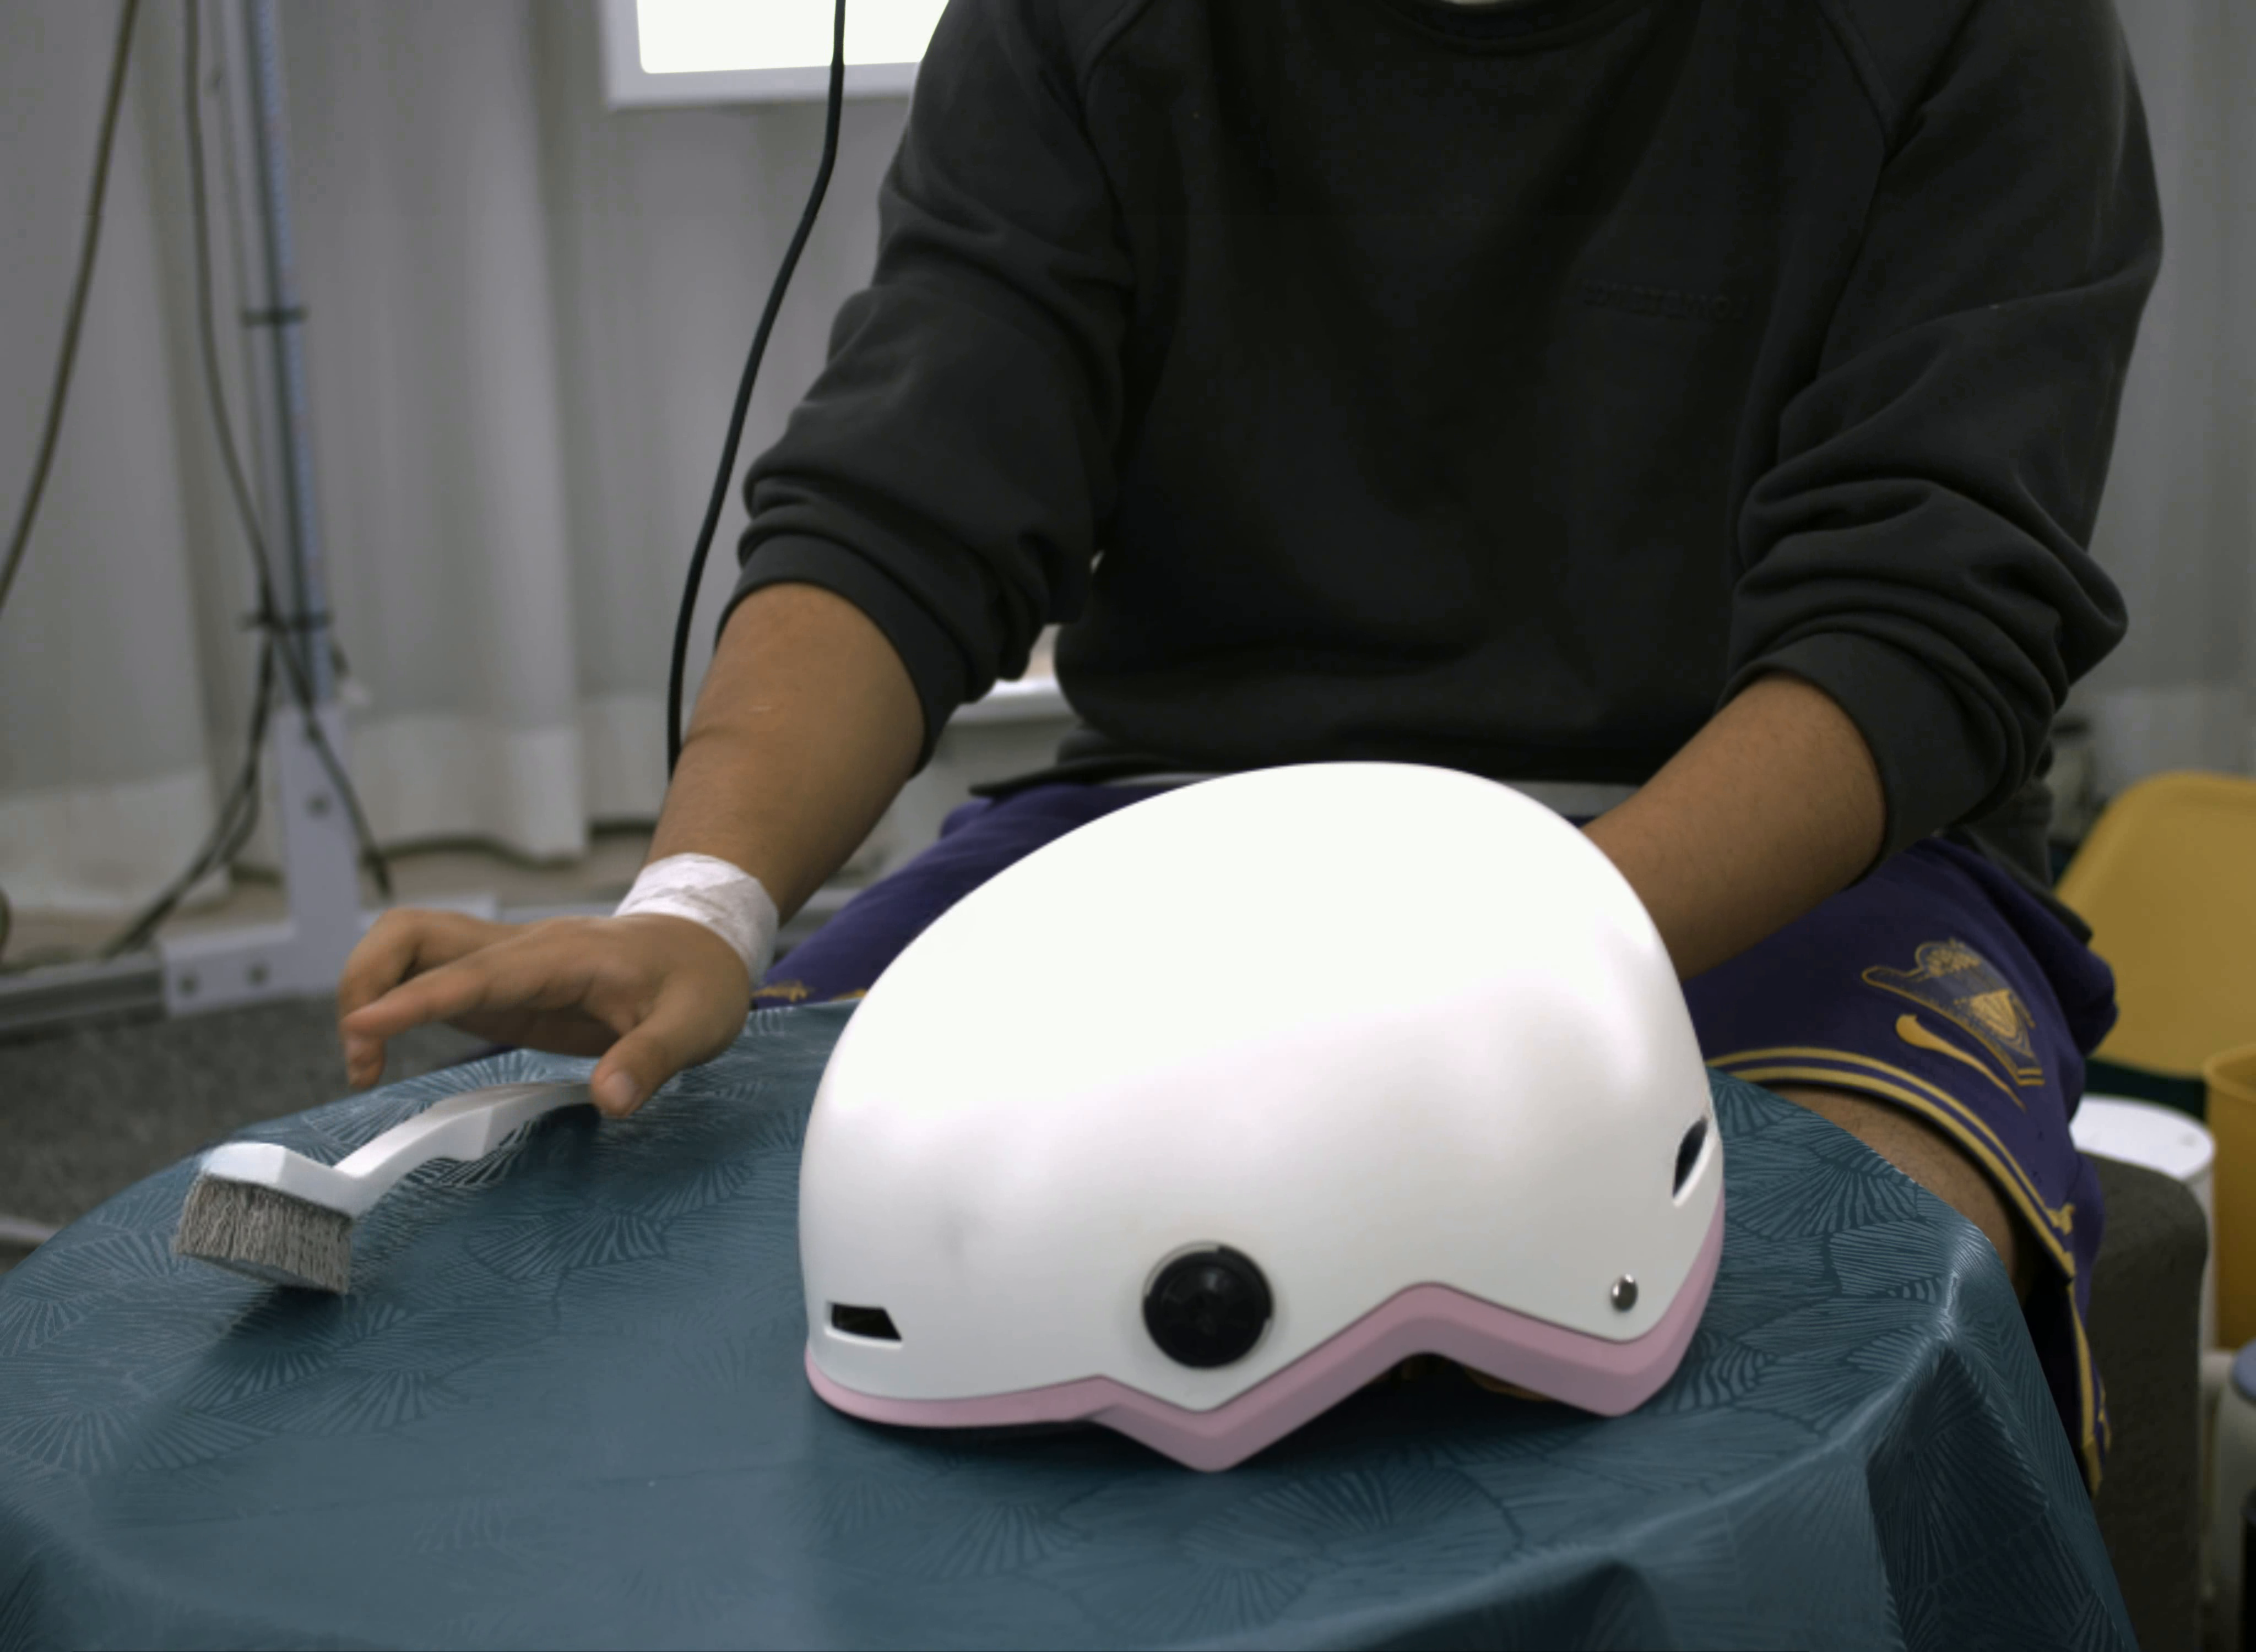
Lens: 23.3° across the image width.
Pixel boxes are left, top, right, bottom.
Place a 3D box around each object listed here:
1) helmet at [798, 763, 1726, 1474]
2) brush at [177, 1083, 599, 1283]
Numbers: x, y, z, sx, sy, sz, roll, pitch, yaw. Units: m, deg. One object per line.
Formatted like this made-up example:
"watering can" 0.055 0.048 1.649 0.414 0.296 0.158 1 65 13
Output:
"helmet" 0.035 0.069 1.564 0.268 0.166 0.239 -4 15 -2
"brush" -0.227 0.112 1.725 0.034 0.050 0.243 2 2 20
